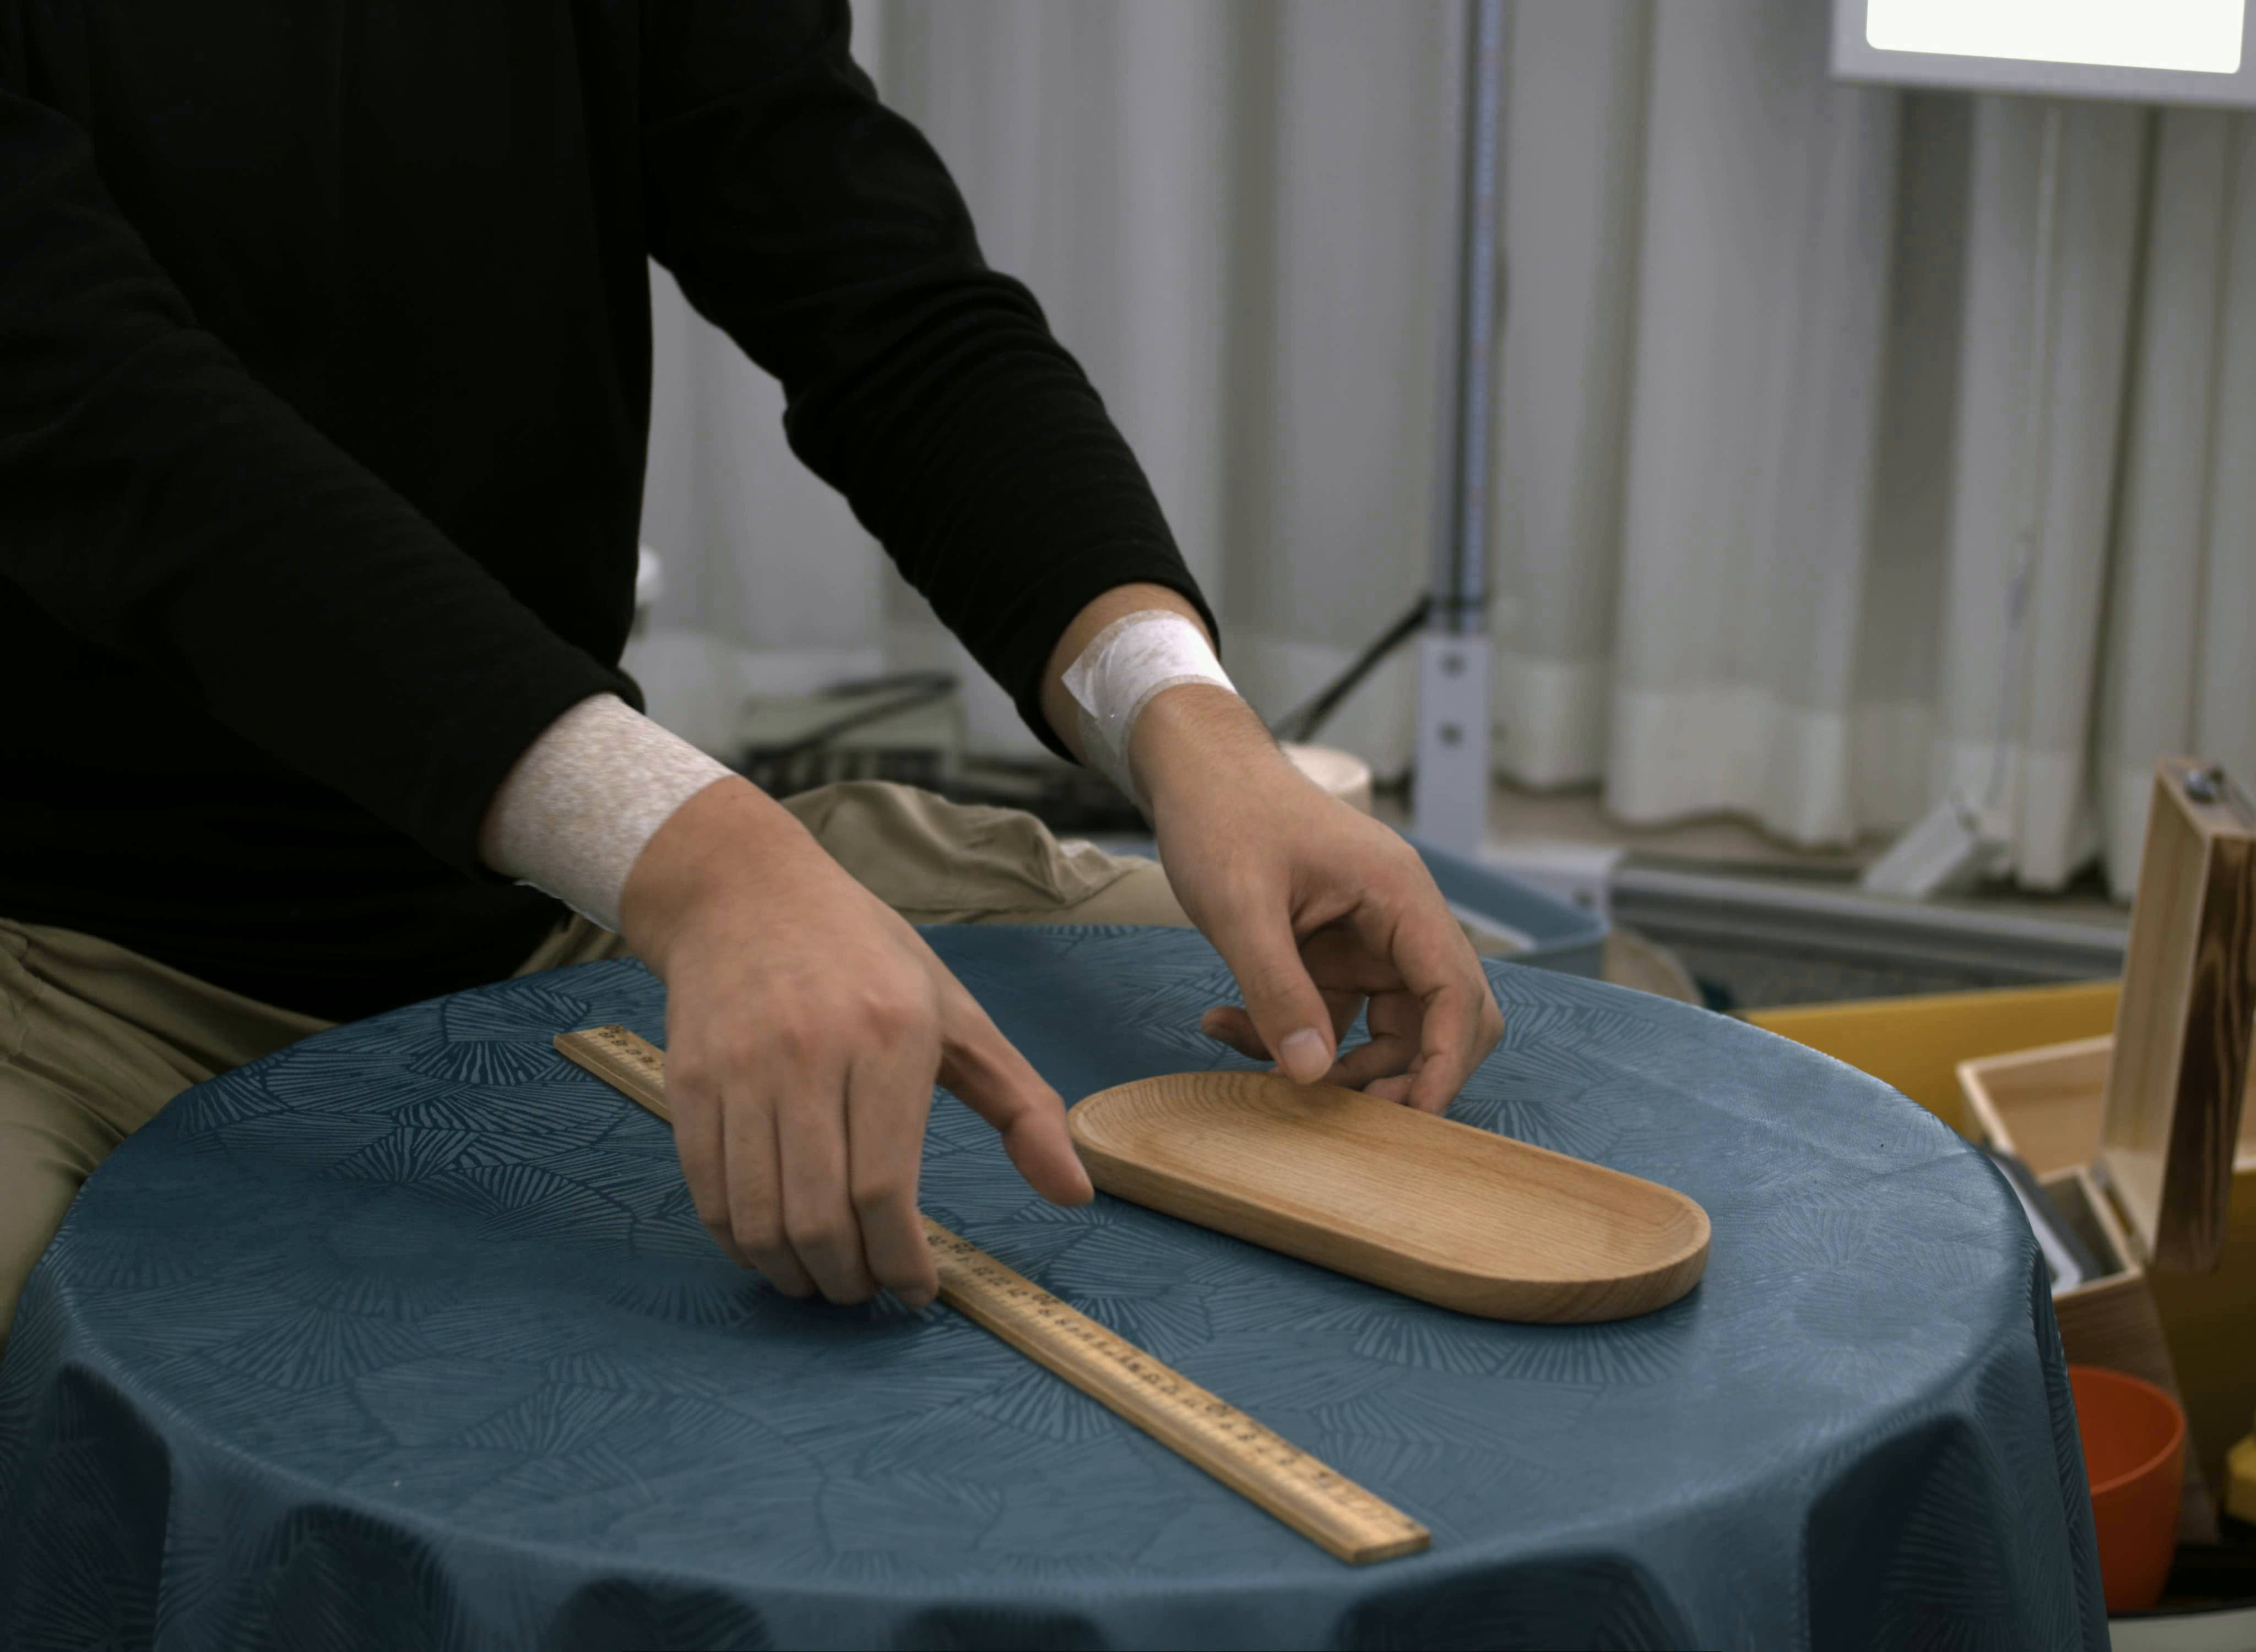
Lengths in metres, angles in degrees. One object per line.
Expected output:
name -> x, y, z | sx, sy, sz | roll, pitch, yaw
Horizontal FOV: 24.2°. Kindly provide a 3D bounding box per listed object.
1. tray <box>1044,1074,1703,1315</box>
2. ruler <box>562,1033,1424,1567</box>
tray -> 0.072, 0.111, 1.598 | 0.228, 0.020, 0.102 | 12, 18, 41
ruler -> -0.055, 0.129, 1.552 | 0.027, 0.006, 0.494 | -7, 17, -29
